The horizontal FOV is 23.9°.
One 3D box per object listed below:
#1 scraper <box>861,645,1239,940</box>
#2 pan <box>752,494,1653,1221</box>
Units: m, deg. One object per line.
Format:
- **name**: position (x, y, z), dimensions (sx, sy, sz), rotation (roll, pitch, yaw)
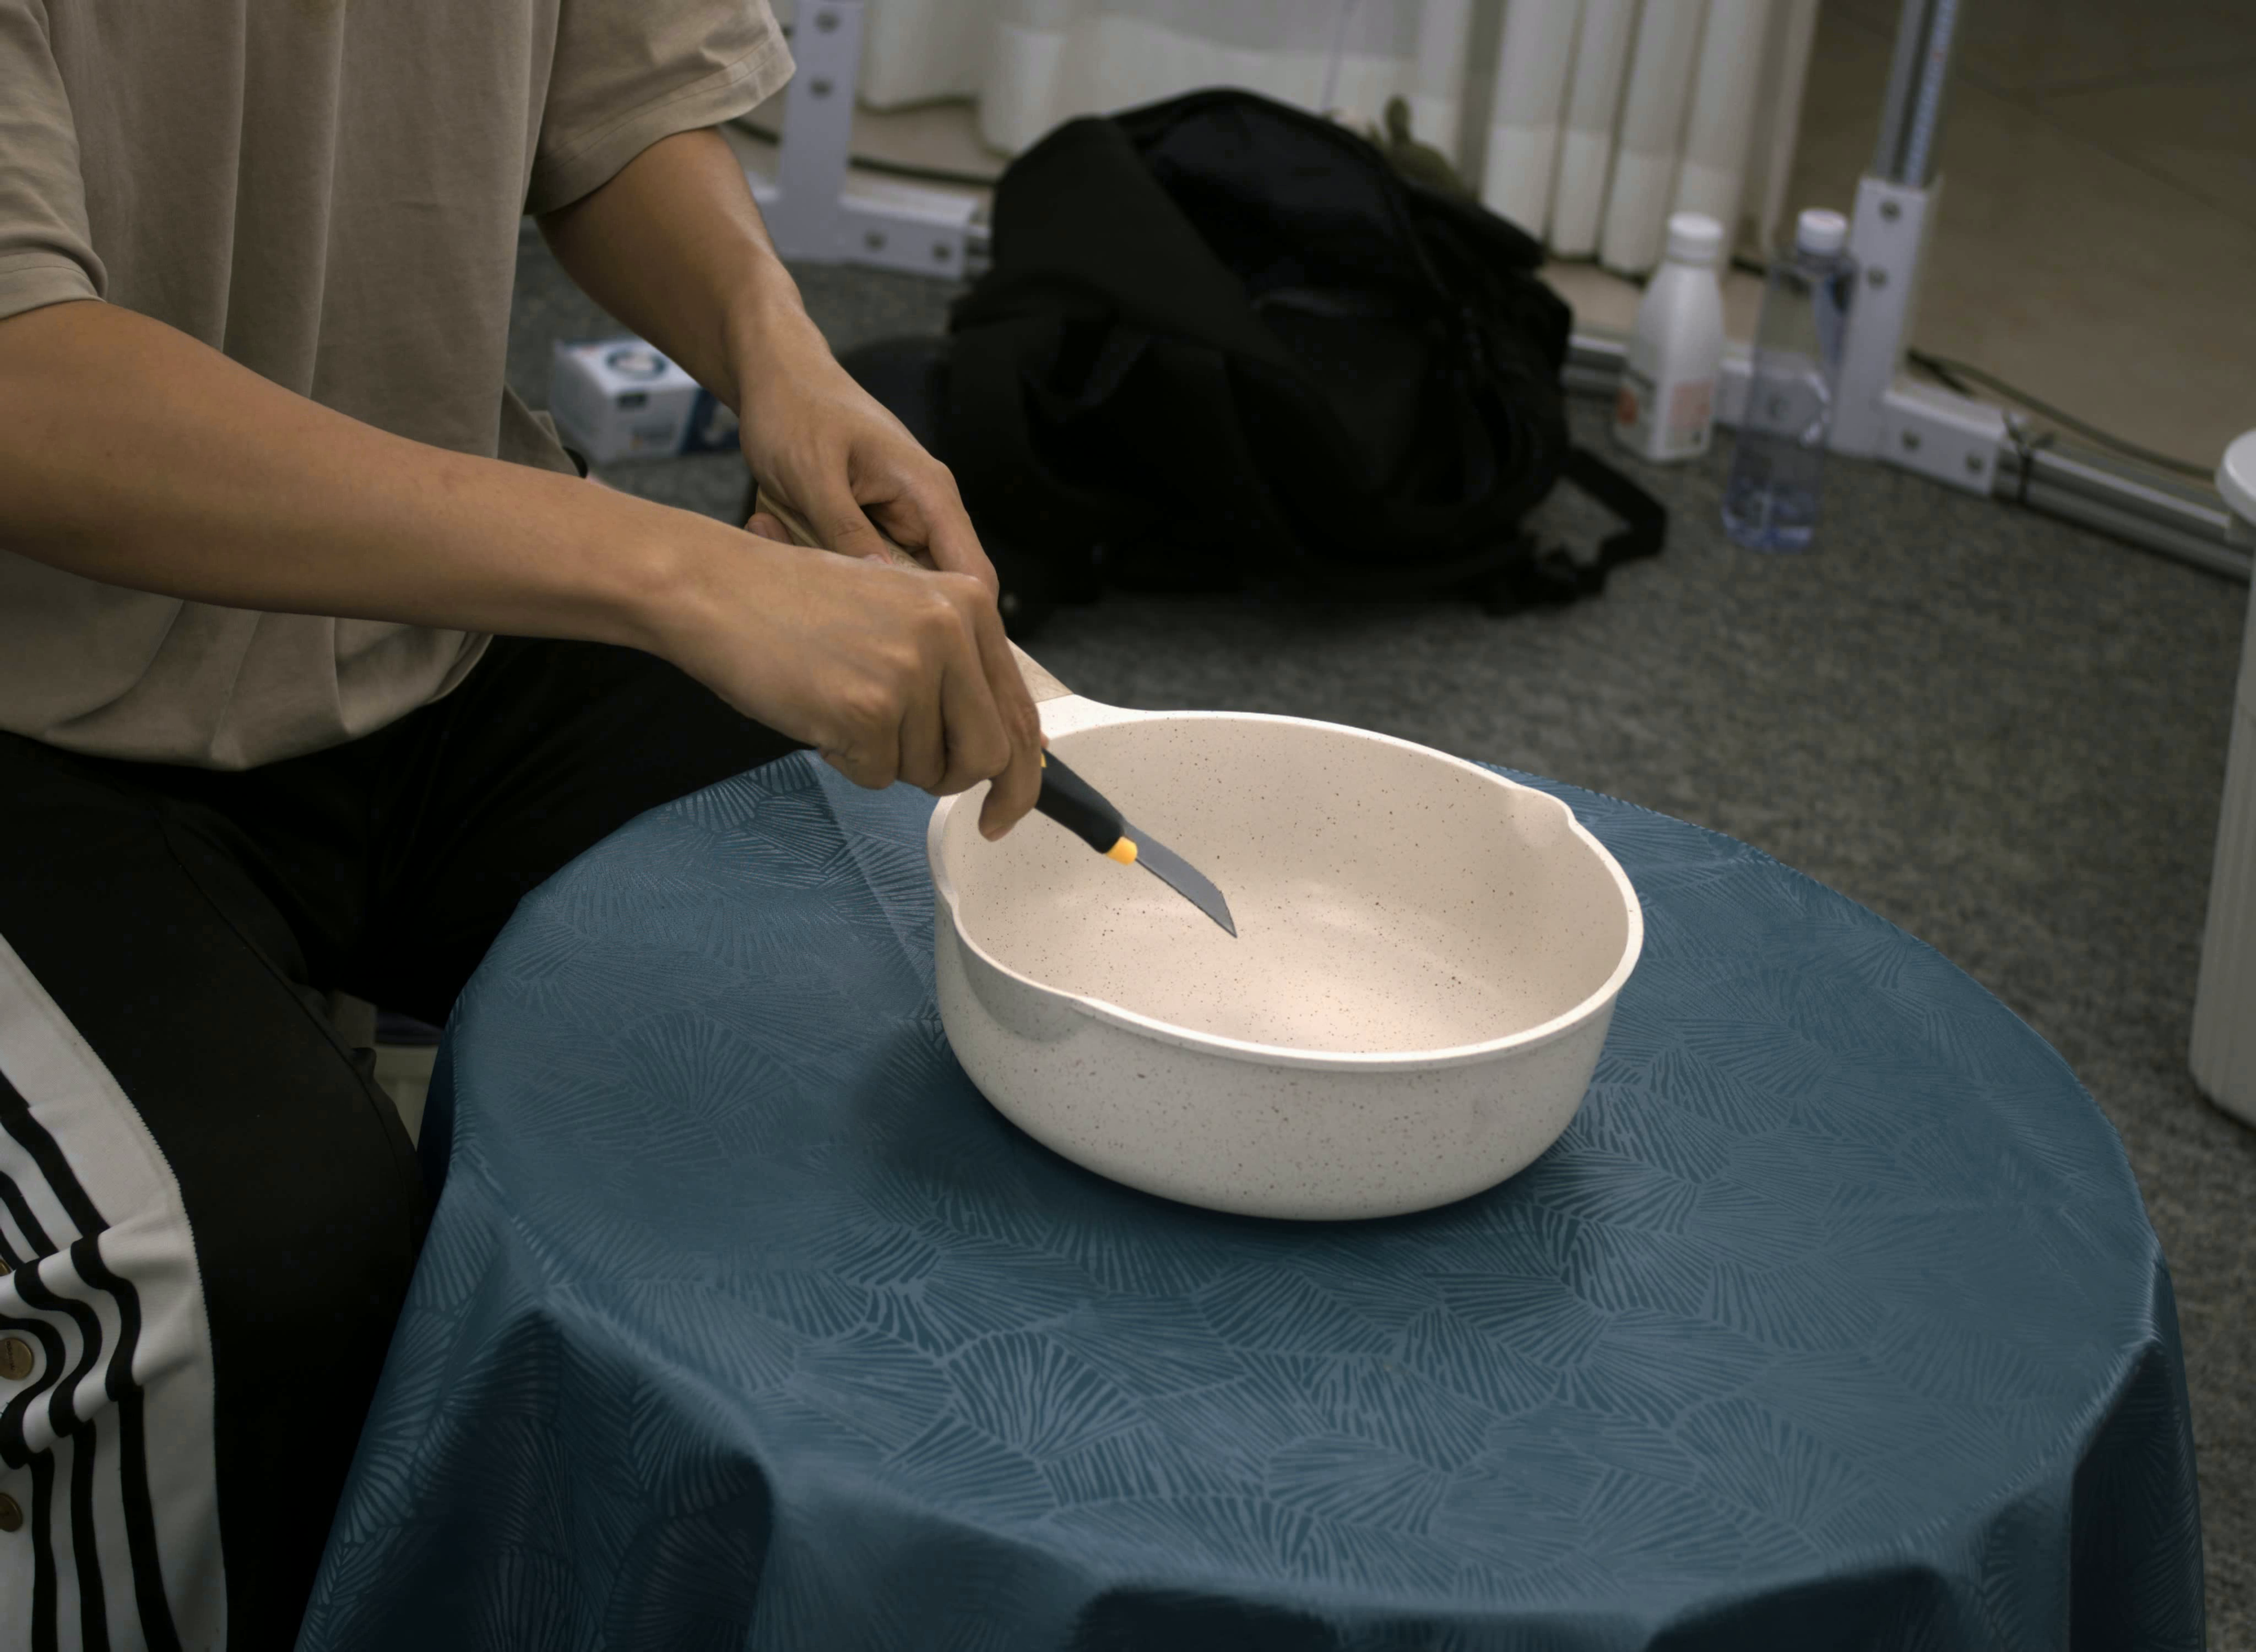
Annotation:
- **scraper**: position (-0.025, -0.012, 1.818), dimensions (0.169, 0.015, 0.039), rotation (34, 30, -28)
- **pan**: position (-0.002, 0.007, 1.927), dimensions (0.262, 0.101, 0.438), rotation (-17, 36, -35)
